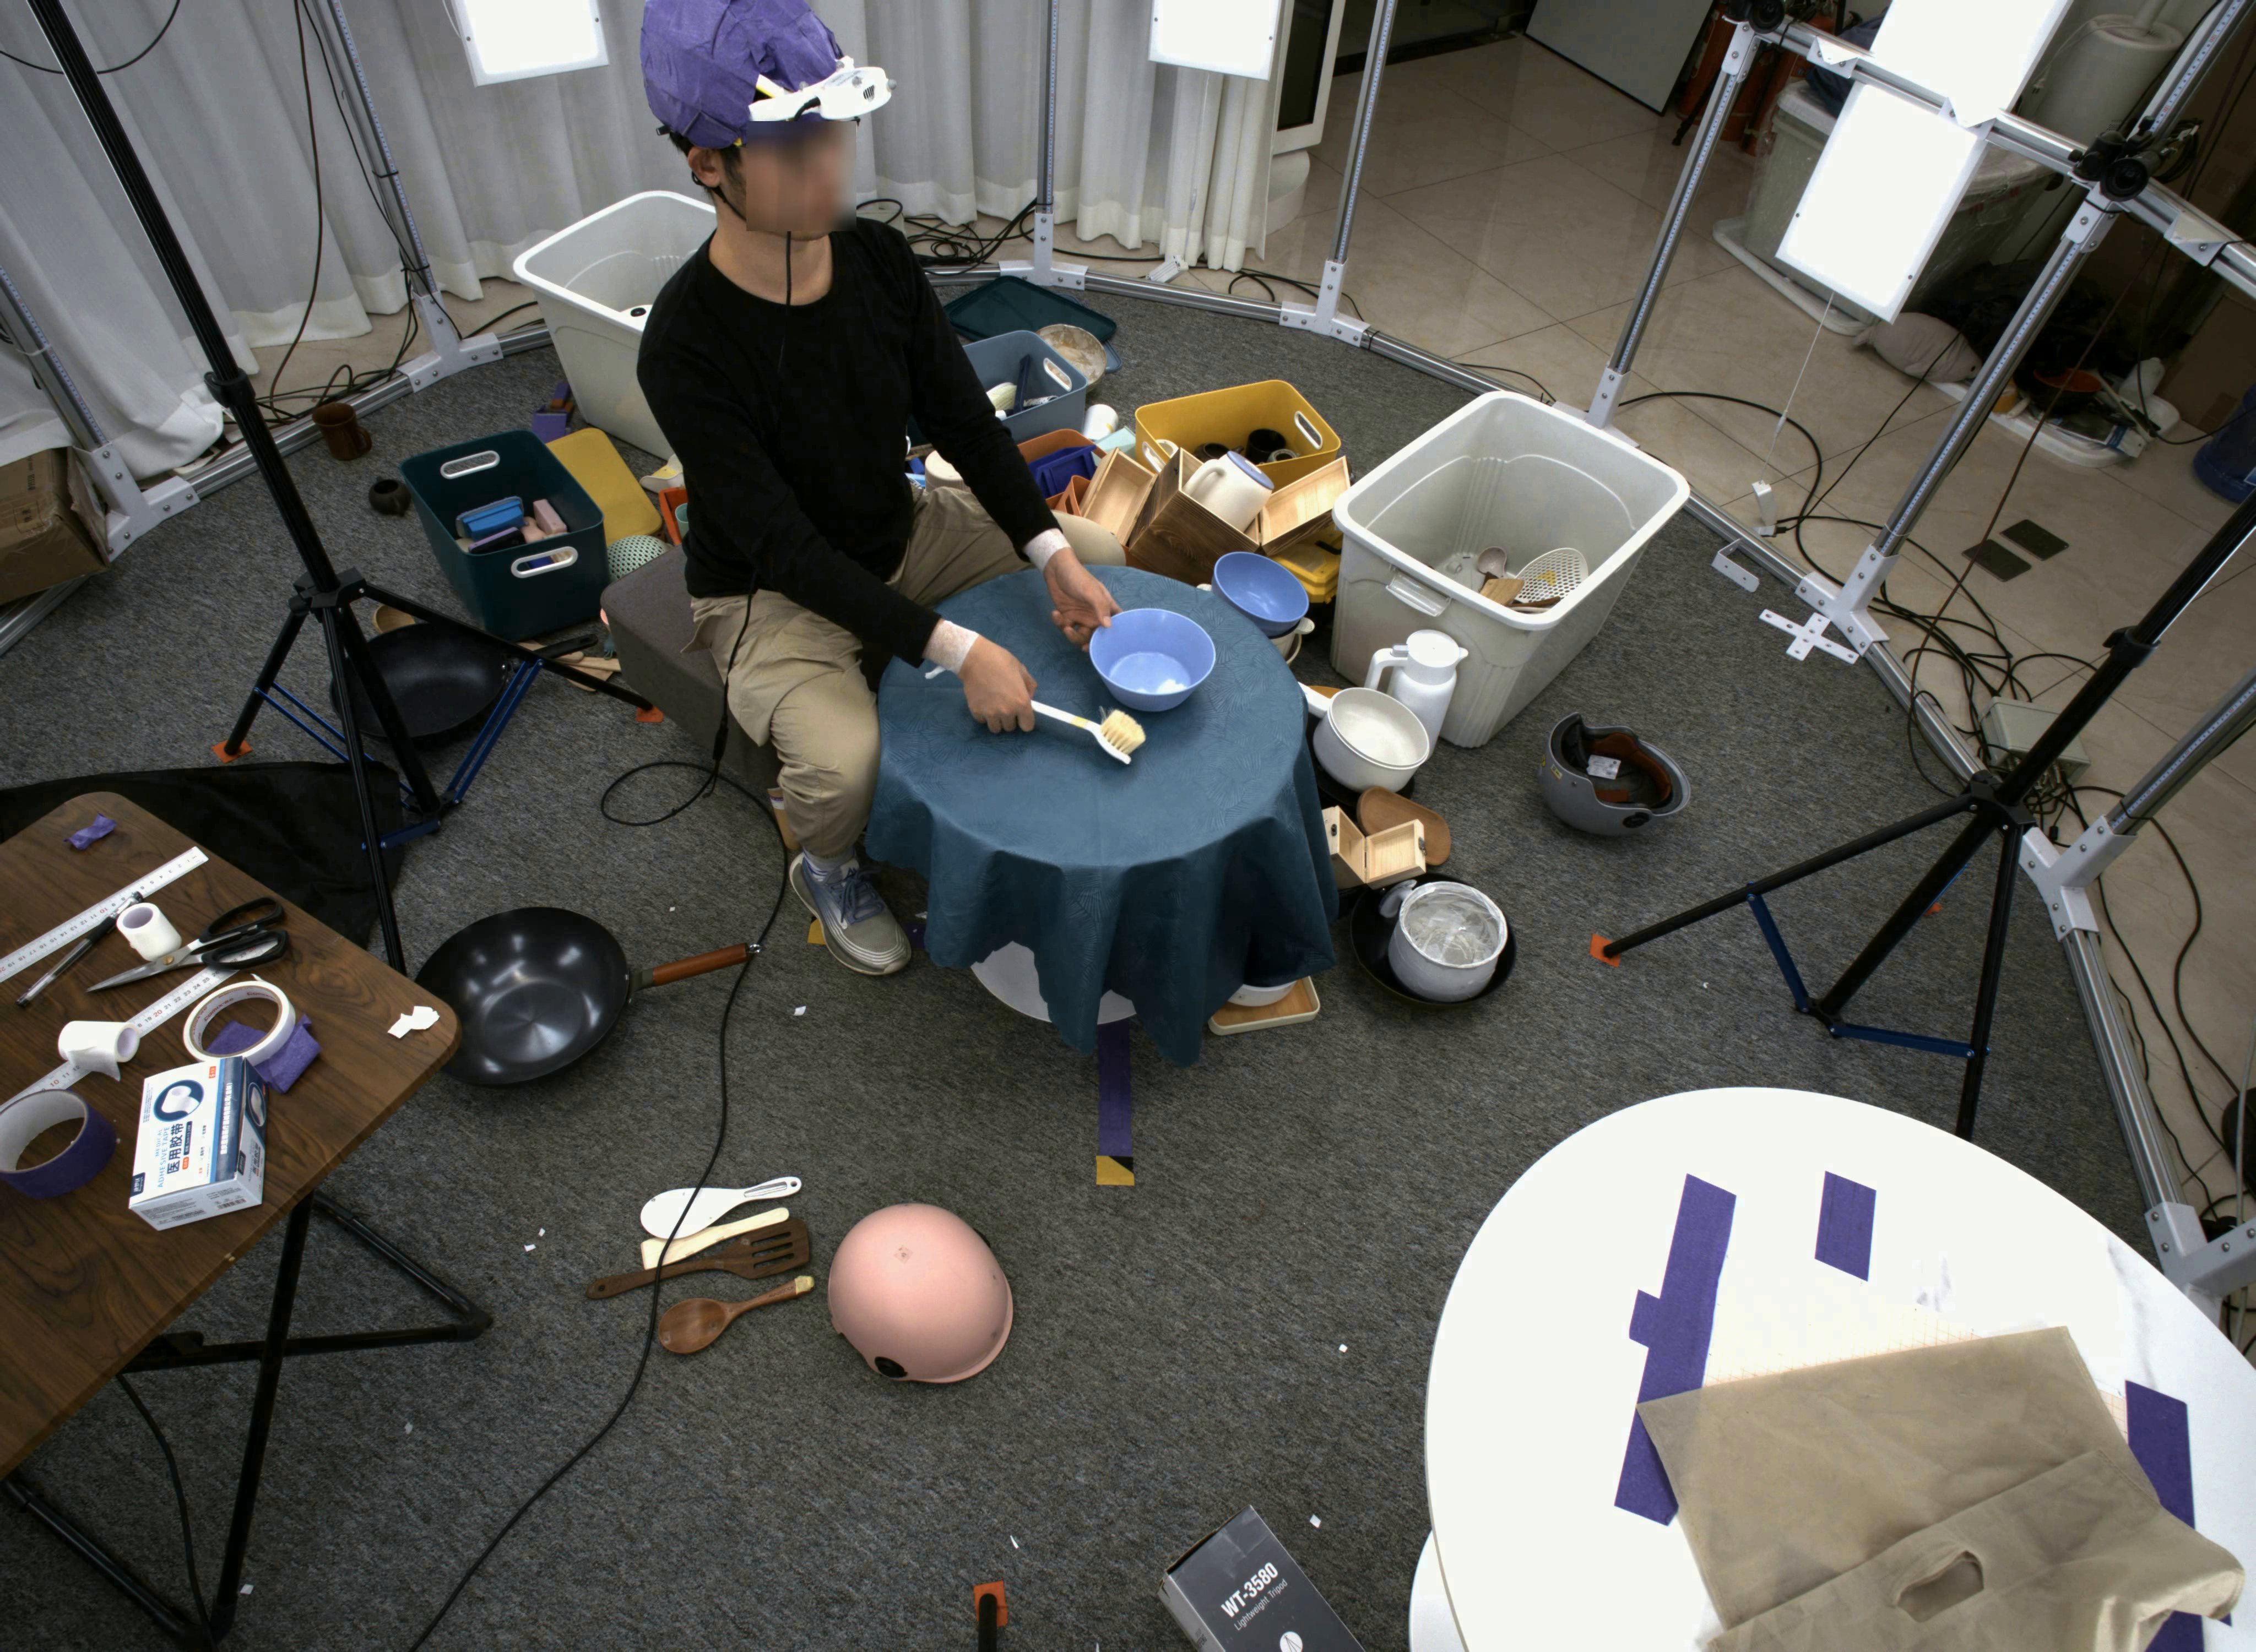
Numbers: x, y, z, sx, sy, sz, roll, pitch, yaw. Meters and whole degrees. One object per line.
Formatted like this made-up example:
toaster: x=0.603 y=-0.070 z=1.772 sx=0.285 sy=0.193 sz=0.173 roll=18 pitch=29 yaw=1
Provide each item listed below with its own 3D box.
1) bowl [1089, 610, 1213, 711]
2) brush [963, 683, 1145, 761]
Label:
bowl: x=0.031 y=-0.226 z=1.821 sx=0.176 sy=0.068 sz=0.180 roll=2 pitch=48 yaw=-2
brush: x=-0.101 y=-0.163 z=1.750 sx=0.268 sy=0.056 sz=0.068 roll=25 pitch=11 yaw=13
